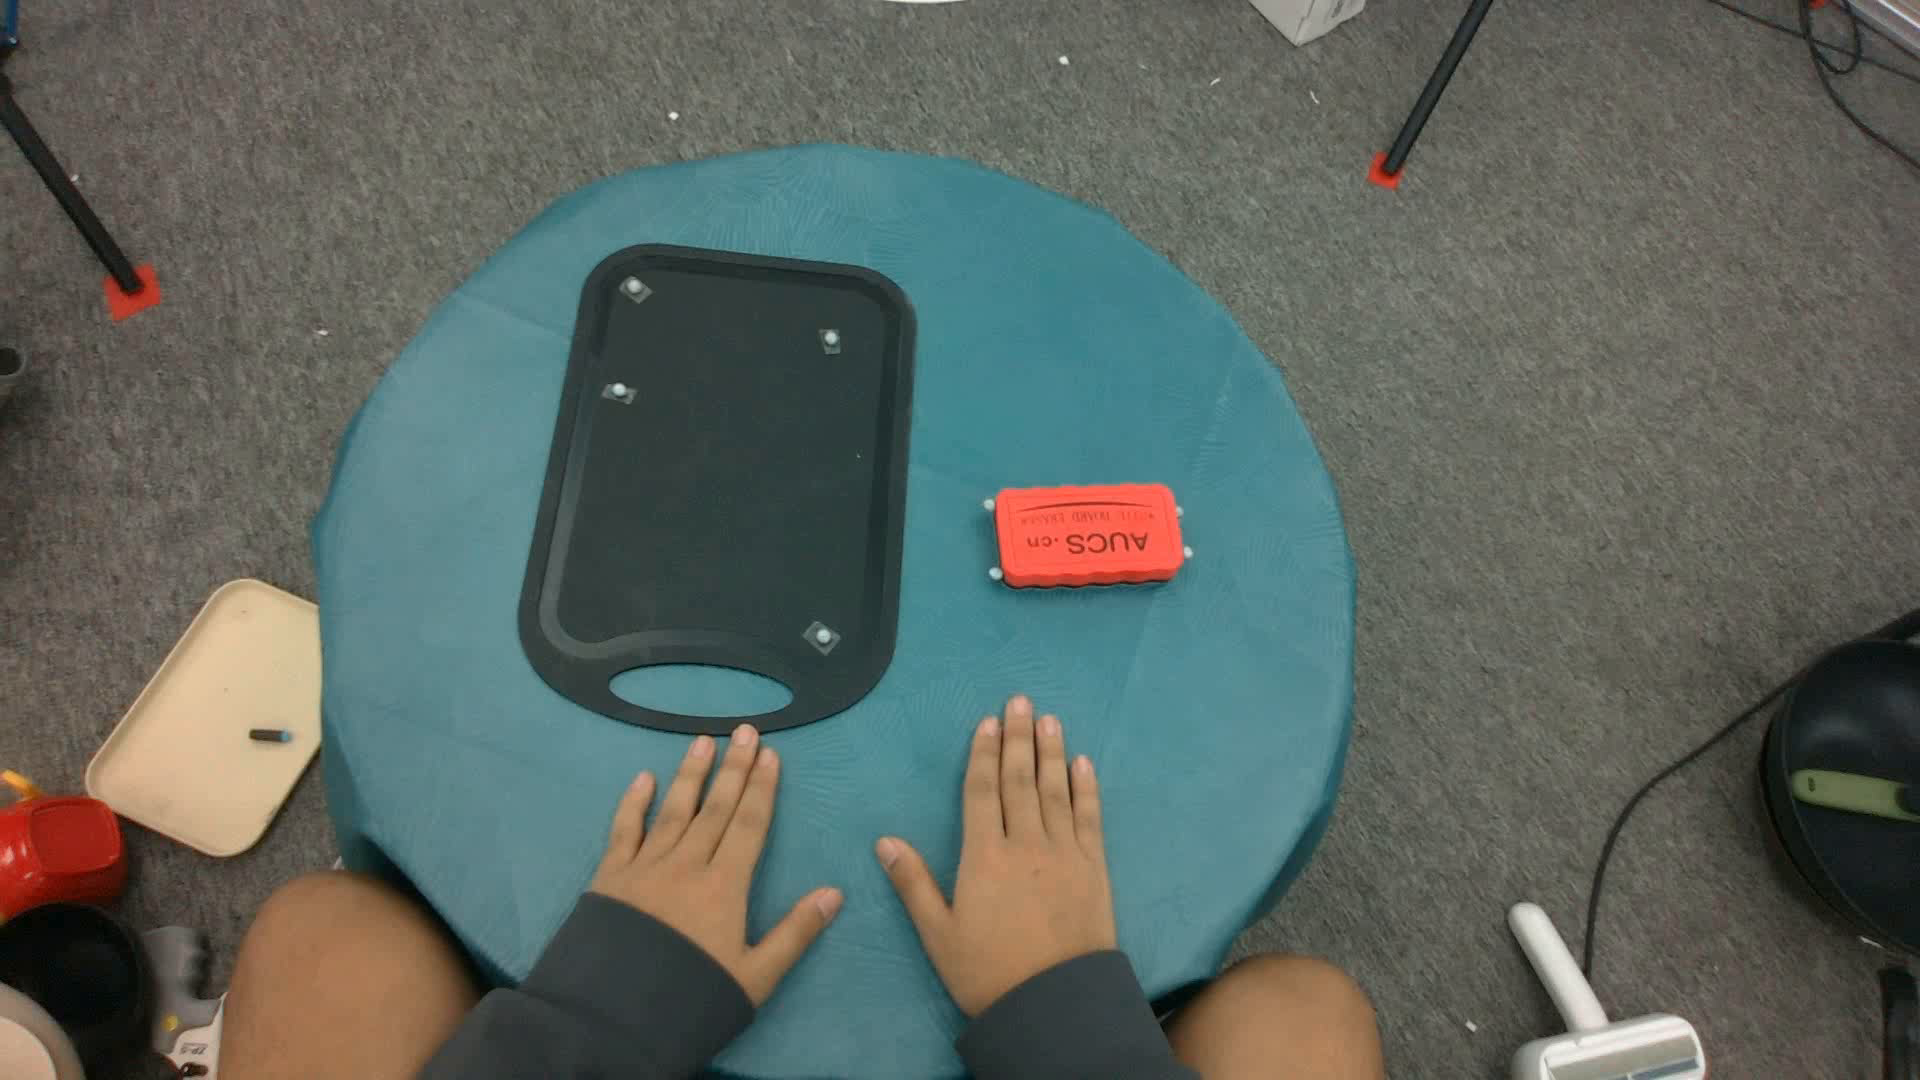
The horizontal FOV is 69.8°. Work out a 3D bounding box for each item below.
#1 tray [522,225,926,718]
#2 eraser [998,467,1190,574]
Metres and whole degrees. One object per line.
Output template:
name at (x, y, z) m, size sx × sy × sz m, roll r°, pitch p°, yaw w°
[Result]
tray at (-0.132, -0.051, 0.815) m, size 0.211 × 0.010 × 0.326 m, roll 6°, pitch 63°, yaw -4°
eraser at (0.078, -0.012, 0.811) m, size 0.108 × 0.023 × 0.059 m, roll -2°, pitch 63°, yaw -7°
